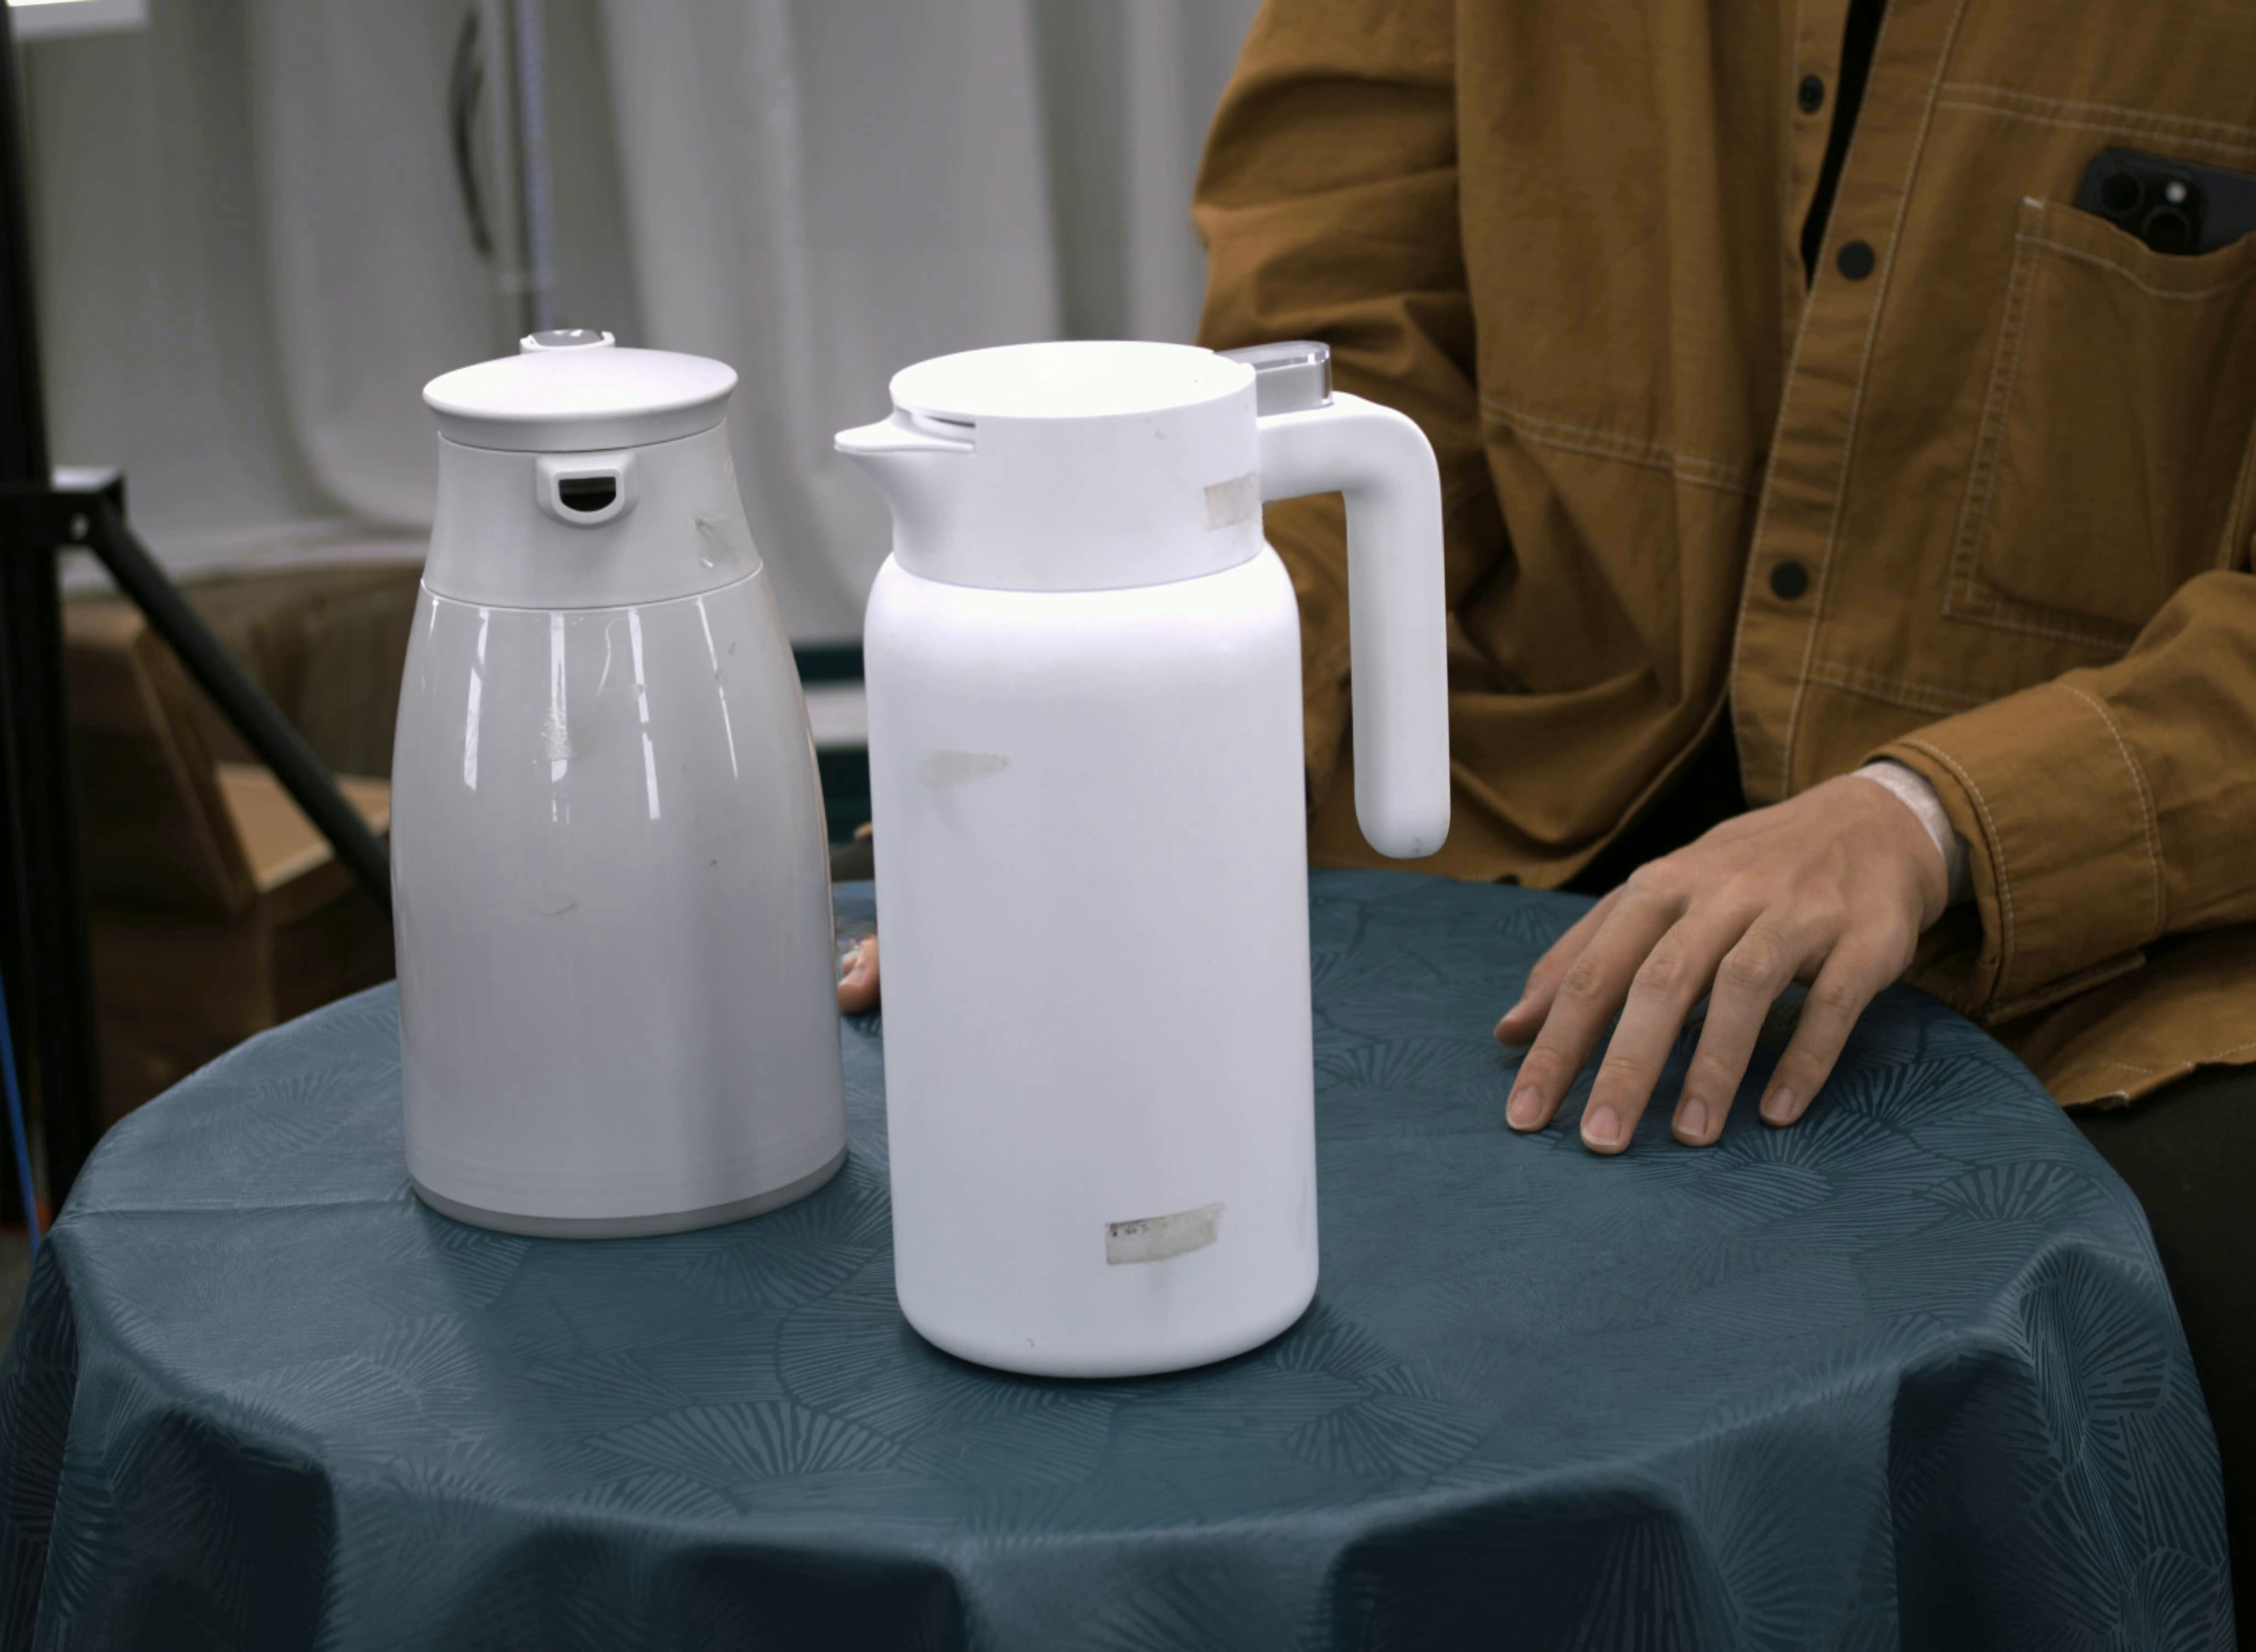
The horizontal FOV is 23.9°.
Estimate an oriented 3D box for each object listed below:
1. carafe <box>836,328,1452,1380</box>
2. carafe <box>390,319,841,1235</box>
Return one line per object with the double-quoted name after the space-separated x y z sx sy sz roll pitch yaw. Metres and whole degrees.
0.006 0.004 1.434 0.169 0.269 0.126 -9 14 -24 "carafe"
-0.157 -0.023 1.589 0.131 0.248 0.169 -3 14 -6 "carafe"
